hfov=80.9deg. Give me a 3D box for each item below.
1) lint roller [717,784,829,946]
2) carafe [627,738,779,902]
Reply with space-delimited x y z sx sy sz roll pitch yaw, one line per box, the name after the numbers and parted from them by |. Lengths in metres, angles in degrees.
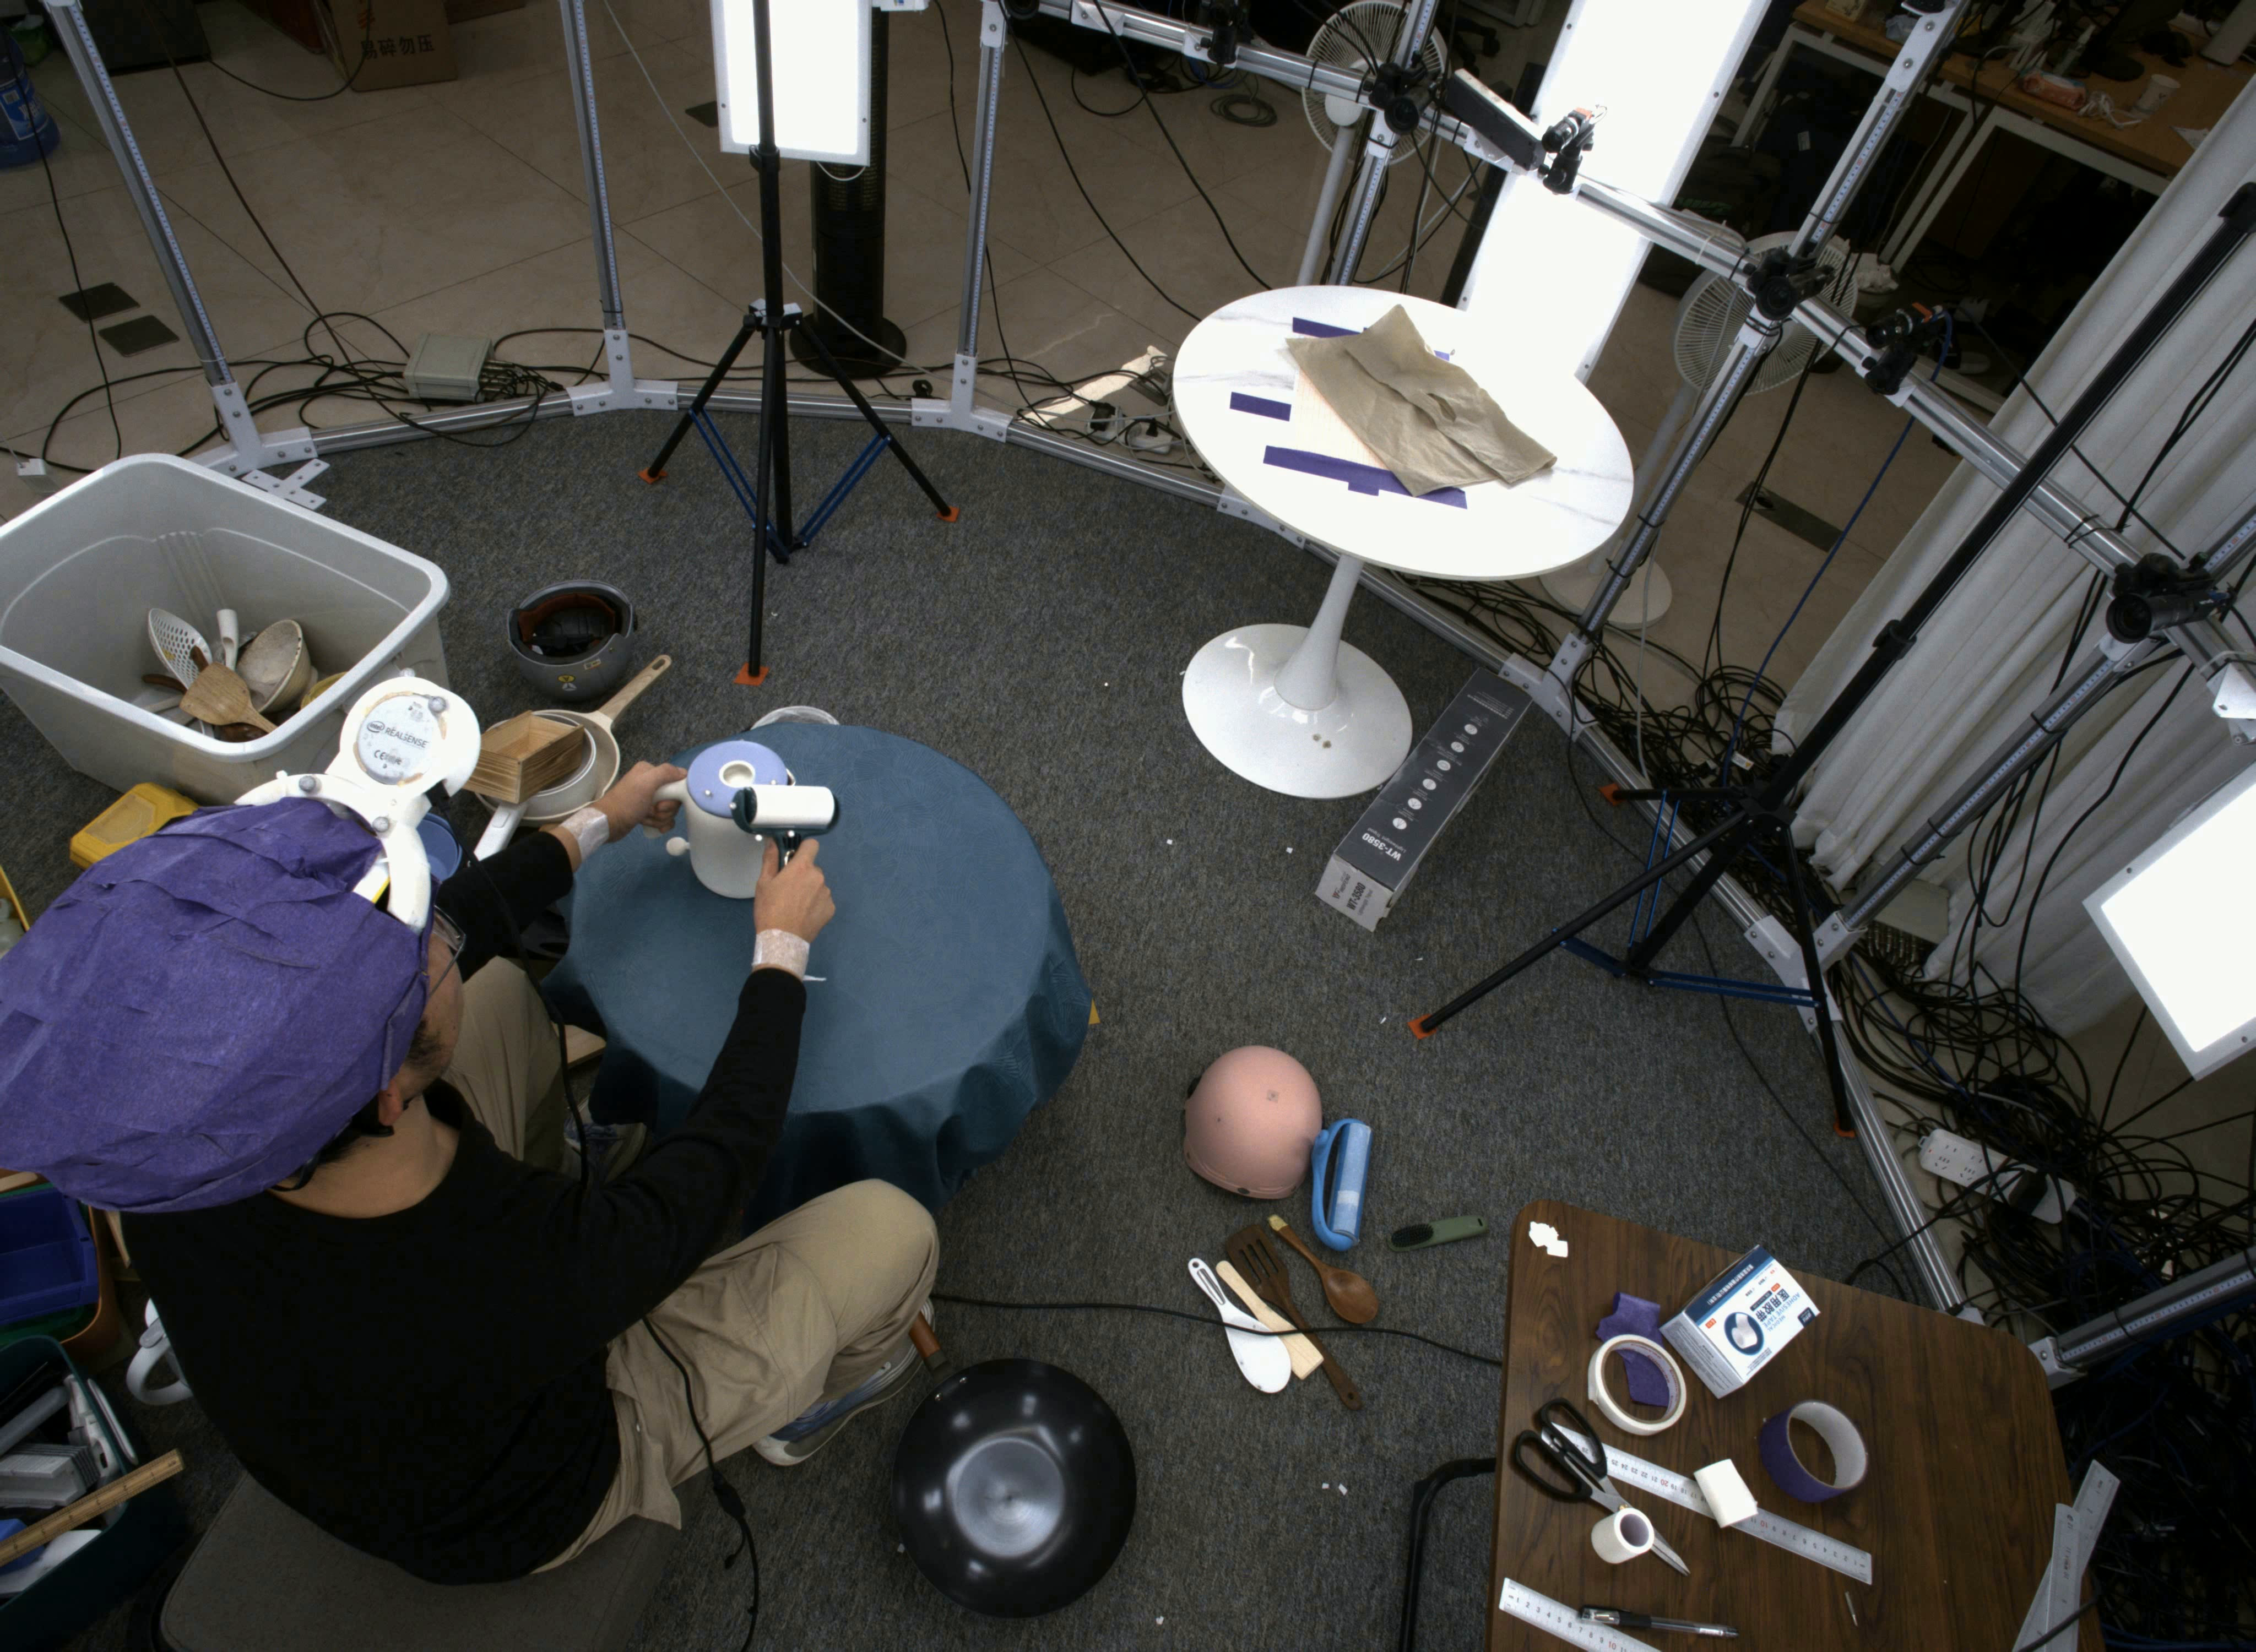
-0.397 0.041 1.478 0.137 0.047 0.180 -1 77 -45 | lint roller
-0.520 -0.006 1.587 0.191 0.187 0.129 -4 53 -14 | carafe
